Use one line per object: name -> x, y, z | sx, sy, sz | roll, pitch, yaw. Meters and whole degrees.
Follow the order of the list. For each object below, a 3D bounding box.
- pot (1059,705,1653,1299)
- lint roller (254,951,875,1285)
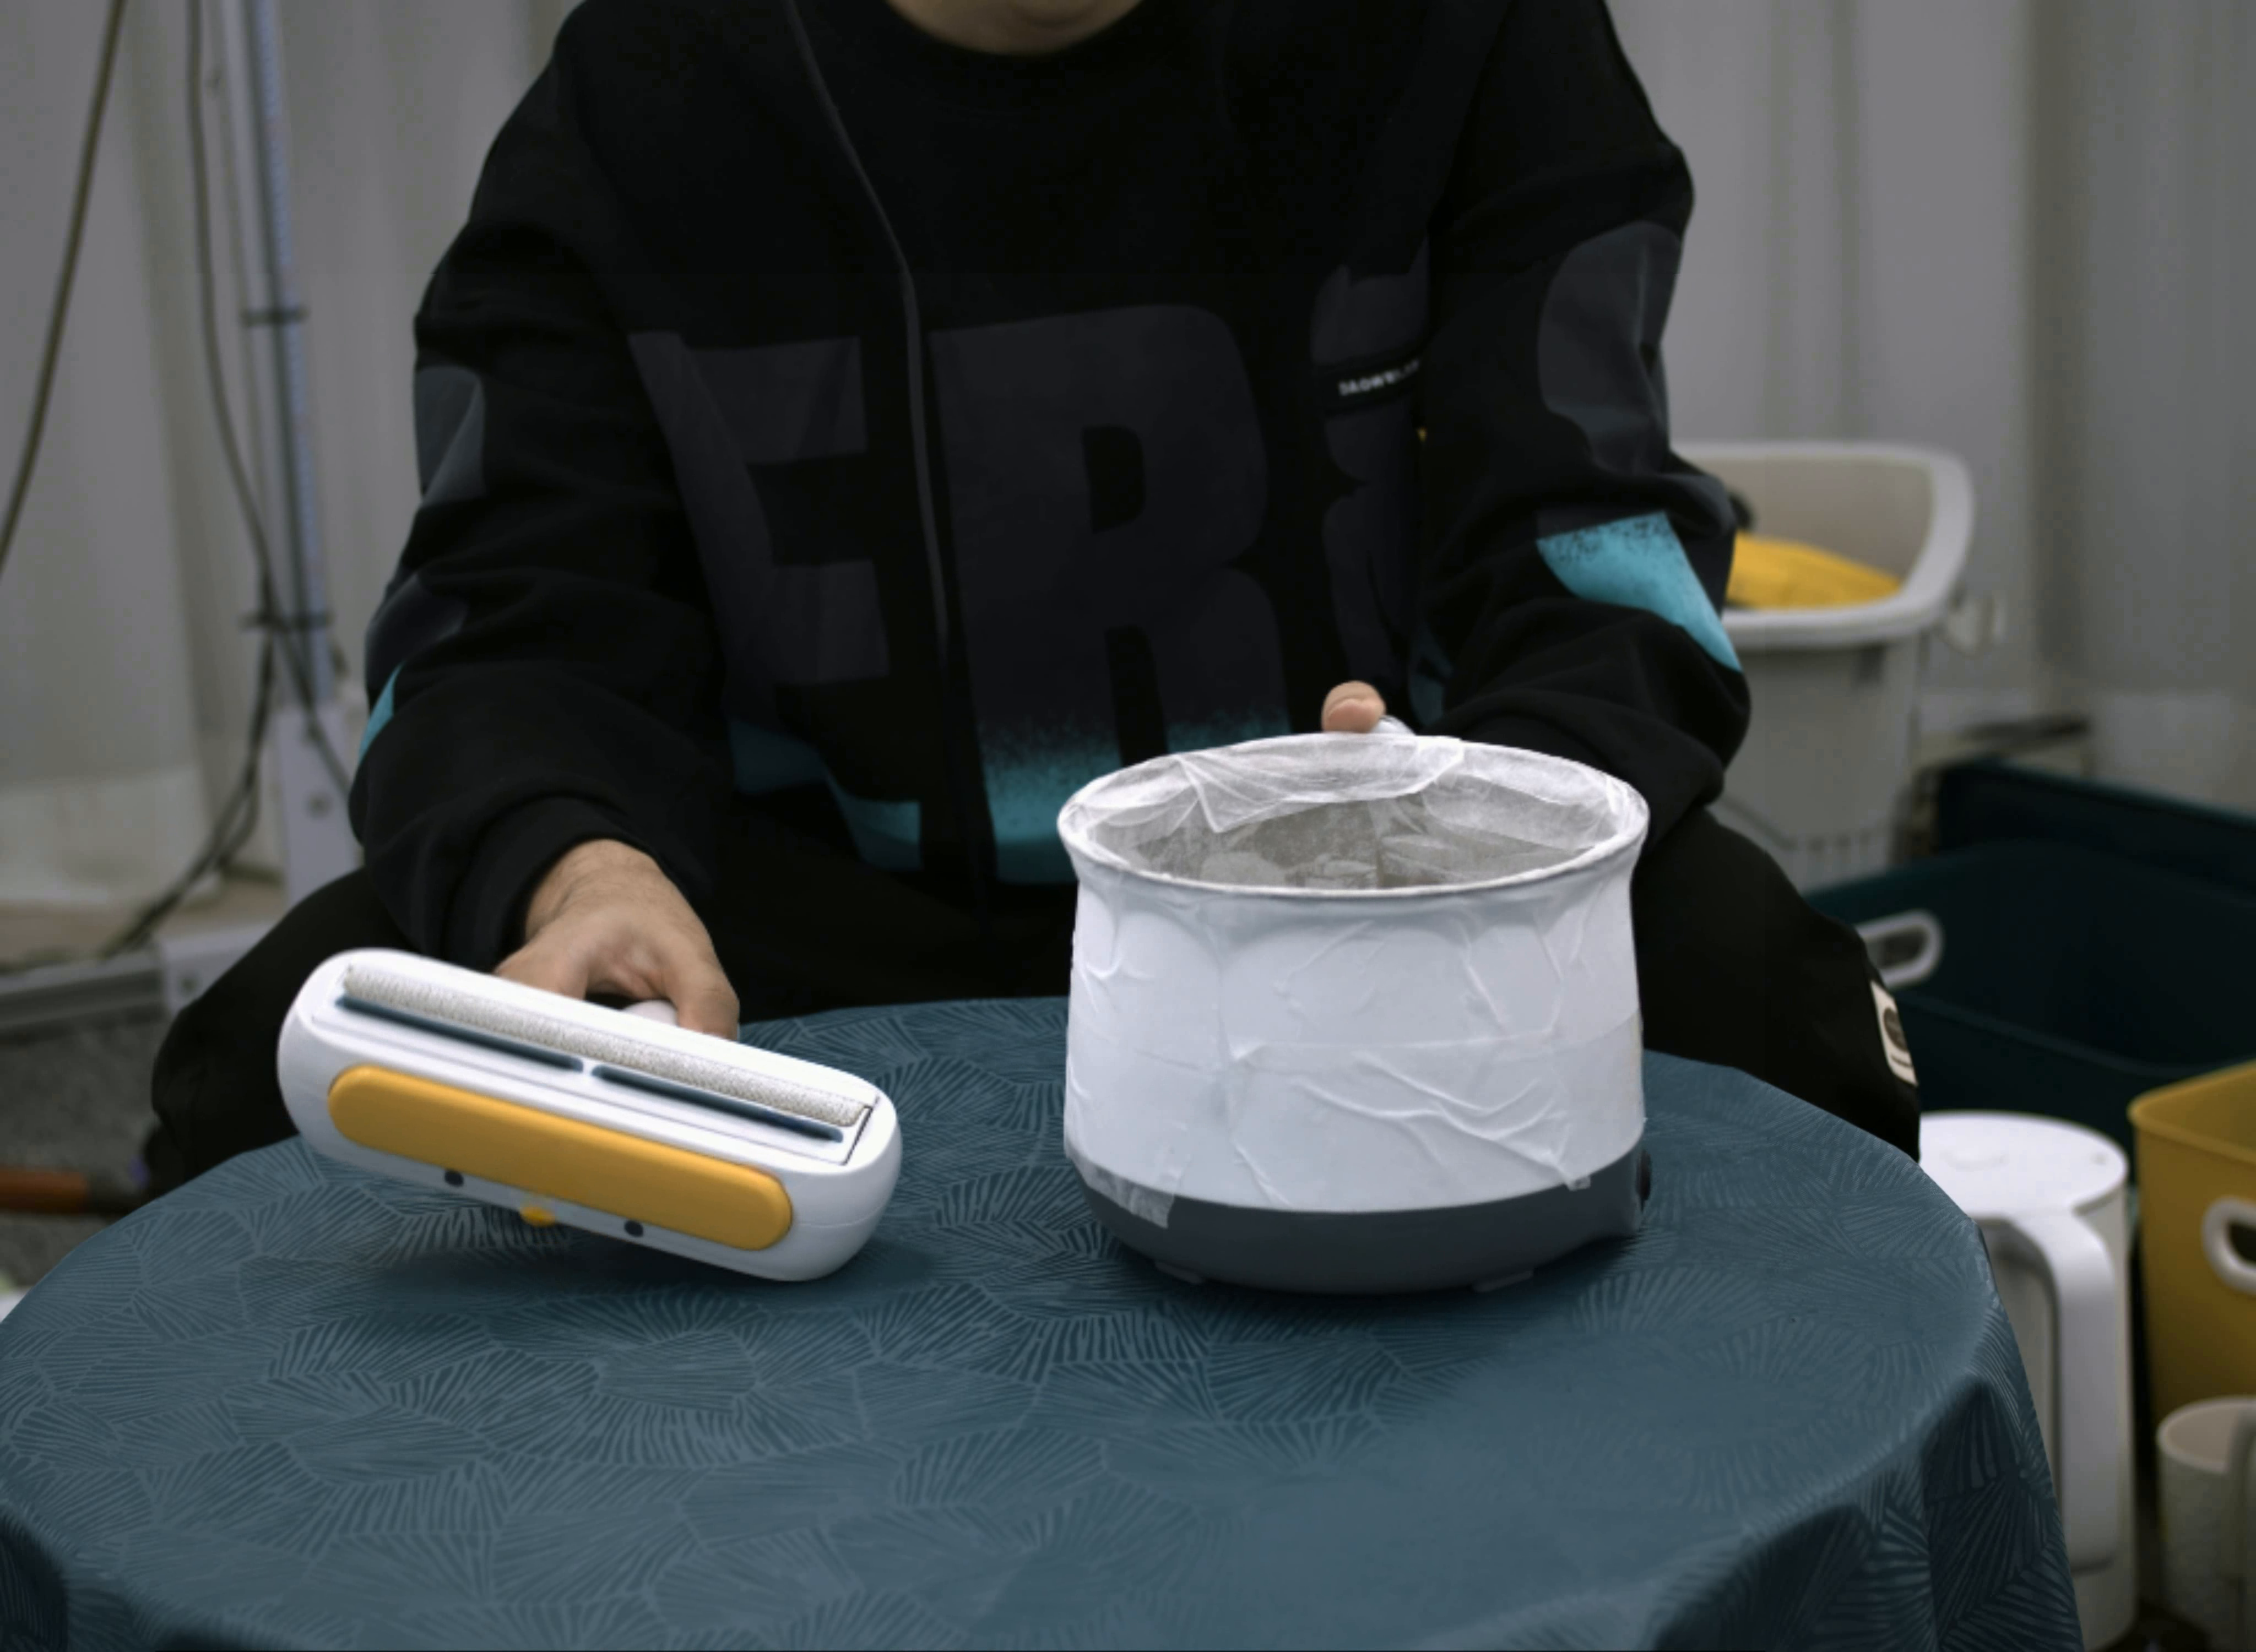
pot -> 0.071, 0.048, 1.672 | 0.178, 0.136, 0.235 | 2, 17, 6
lint roller -> -0.158, 0.077, 1.722 | 0.193, 0.074, 0.193 | 11, 20, 11
